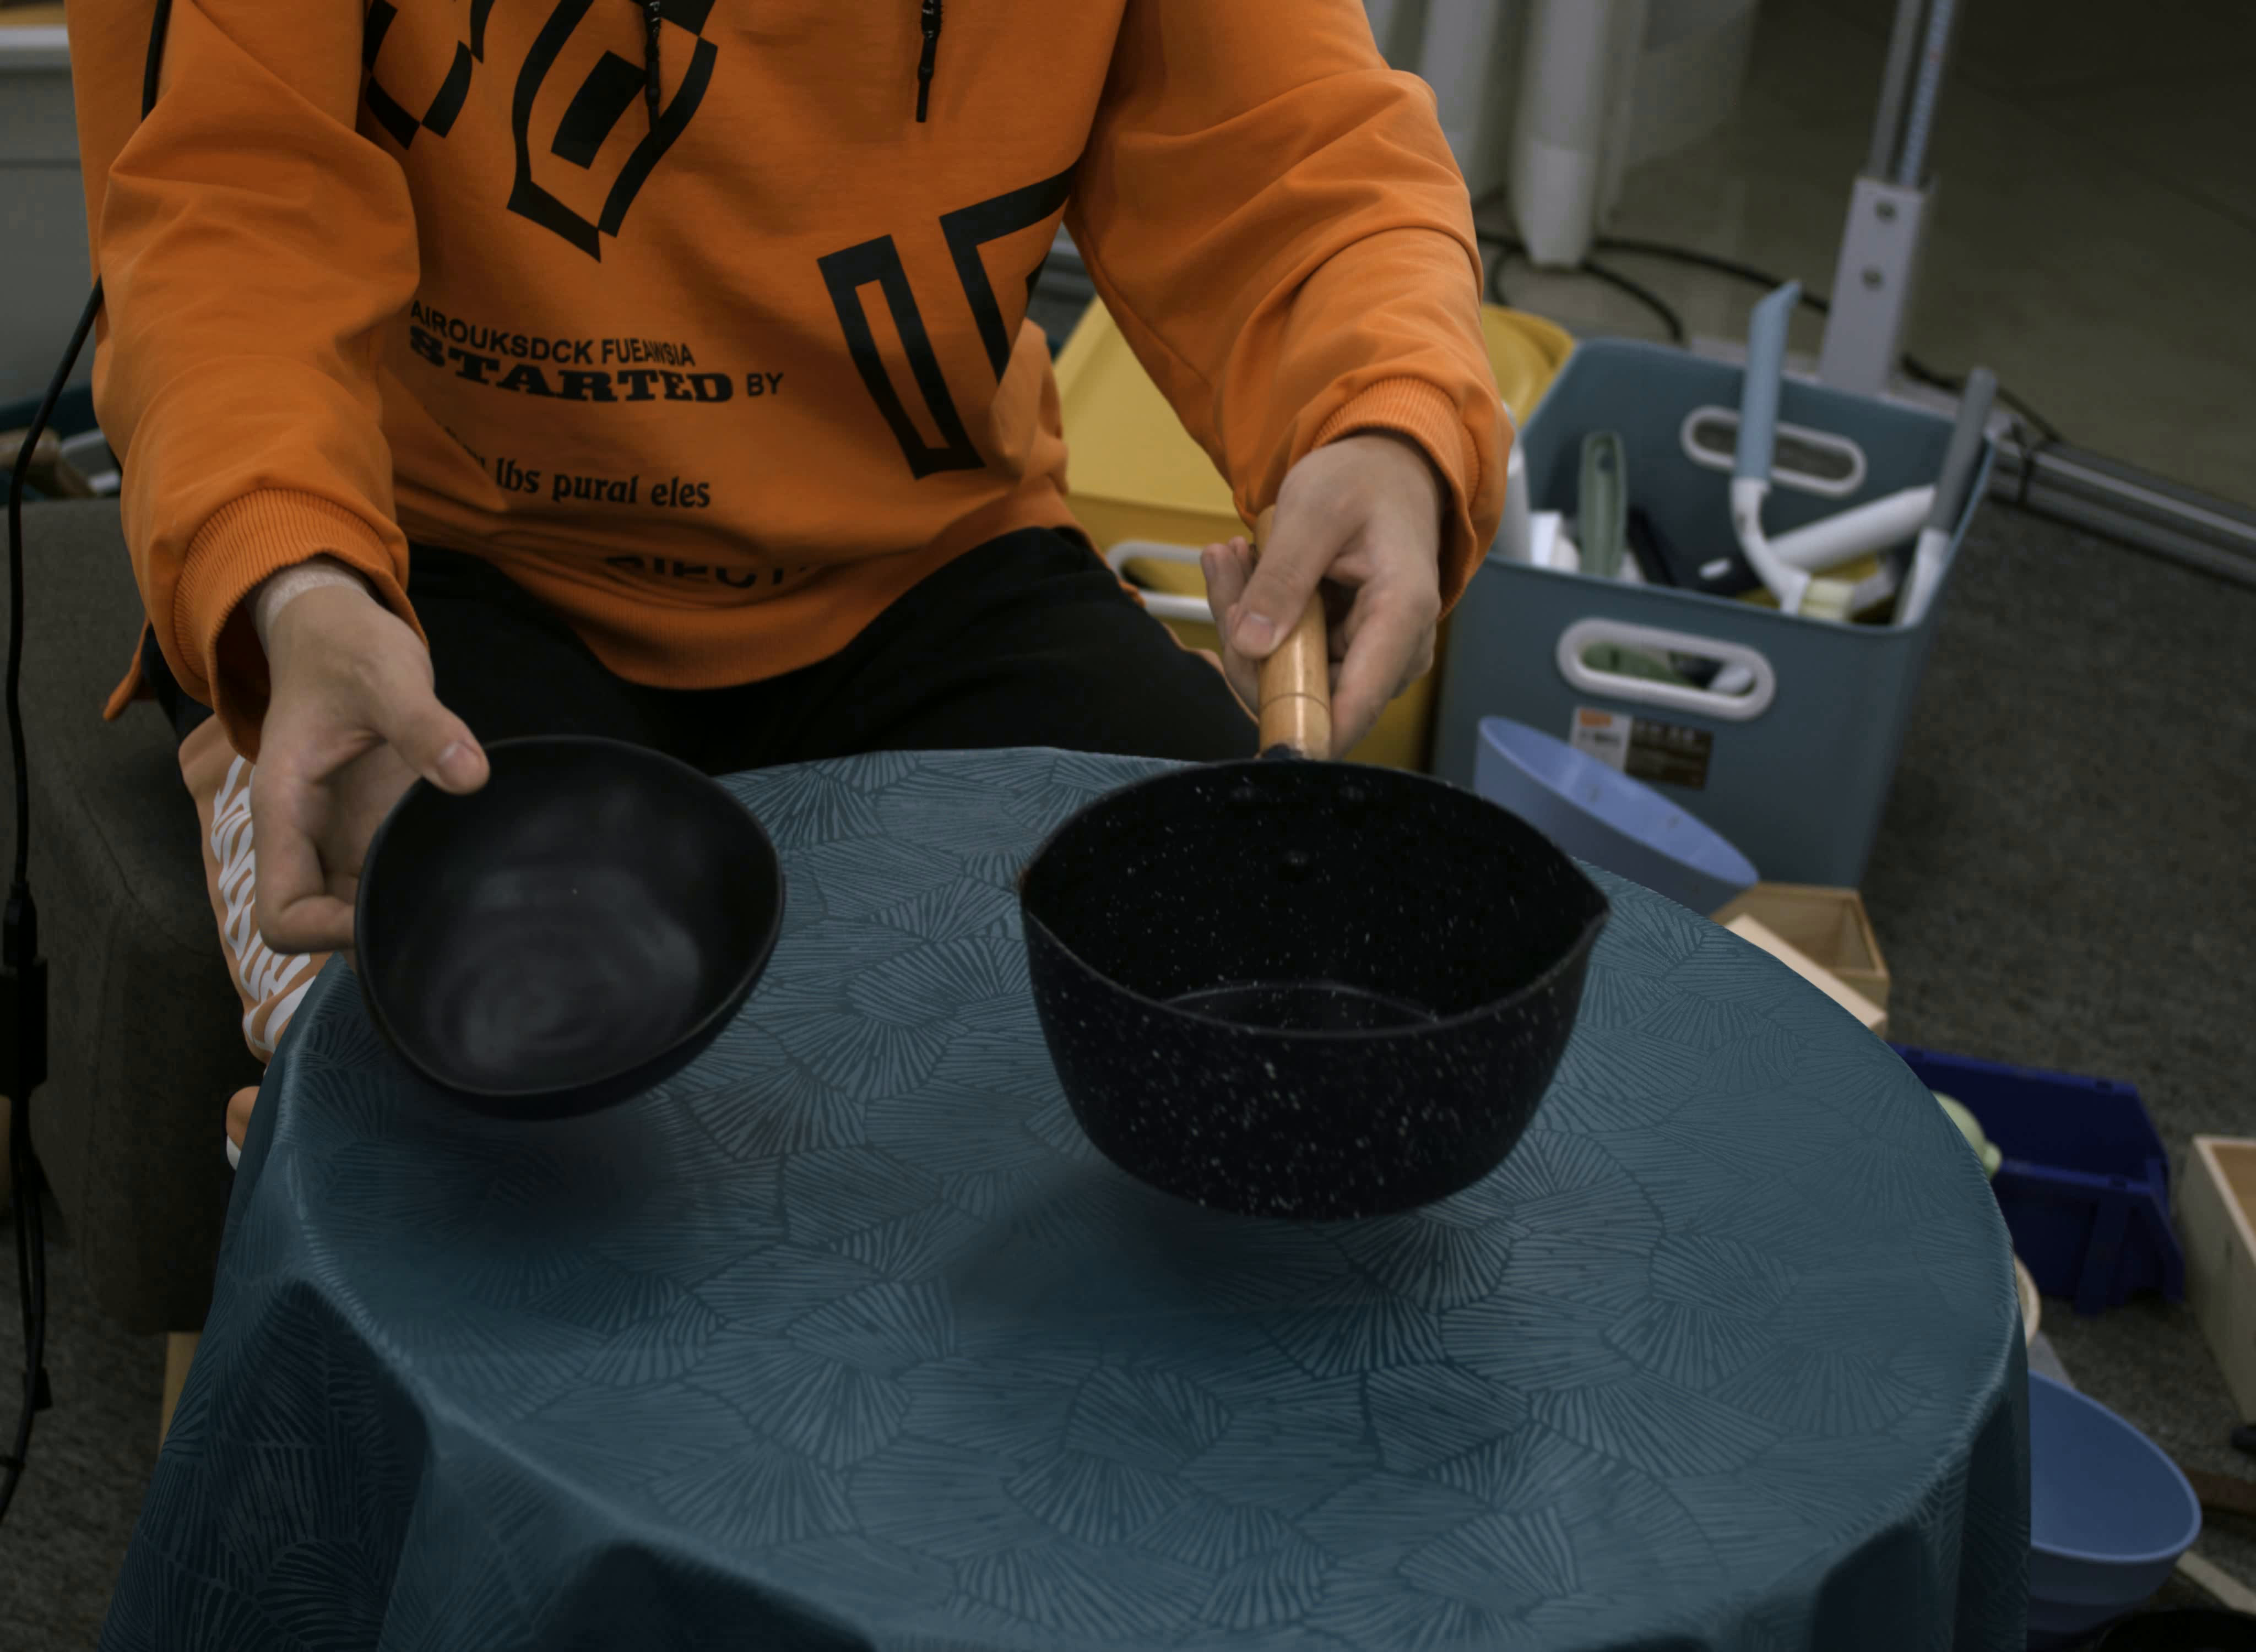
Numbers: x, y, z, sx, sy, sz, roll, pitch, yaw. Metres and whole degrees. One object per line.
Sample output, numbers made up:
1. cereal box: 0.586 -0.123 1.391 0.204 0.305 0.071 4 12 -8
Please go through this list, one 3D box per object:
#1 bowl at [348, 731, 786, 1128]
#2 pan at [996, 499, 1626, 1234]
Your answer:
1. bowl: -0.188 0.045 1.762 0.137 0.066 0.171 20 45 8
2. pan: 0.057 0.010 1.826 0.207 0.108 0.345 1 30 -2
